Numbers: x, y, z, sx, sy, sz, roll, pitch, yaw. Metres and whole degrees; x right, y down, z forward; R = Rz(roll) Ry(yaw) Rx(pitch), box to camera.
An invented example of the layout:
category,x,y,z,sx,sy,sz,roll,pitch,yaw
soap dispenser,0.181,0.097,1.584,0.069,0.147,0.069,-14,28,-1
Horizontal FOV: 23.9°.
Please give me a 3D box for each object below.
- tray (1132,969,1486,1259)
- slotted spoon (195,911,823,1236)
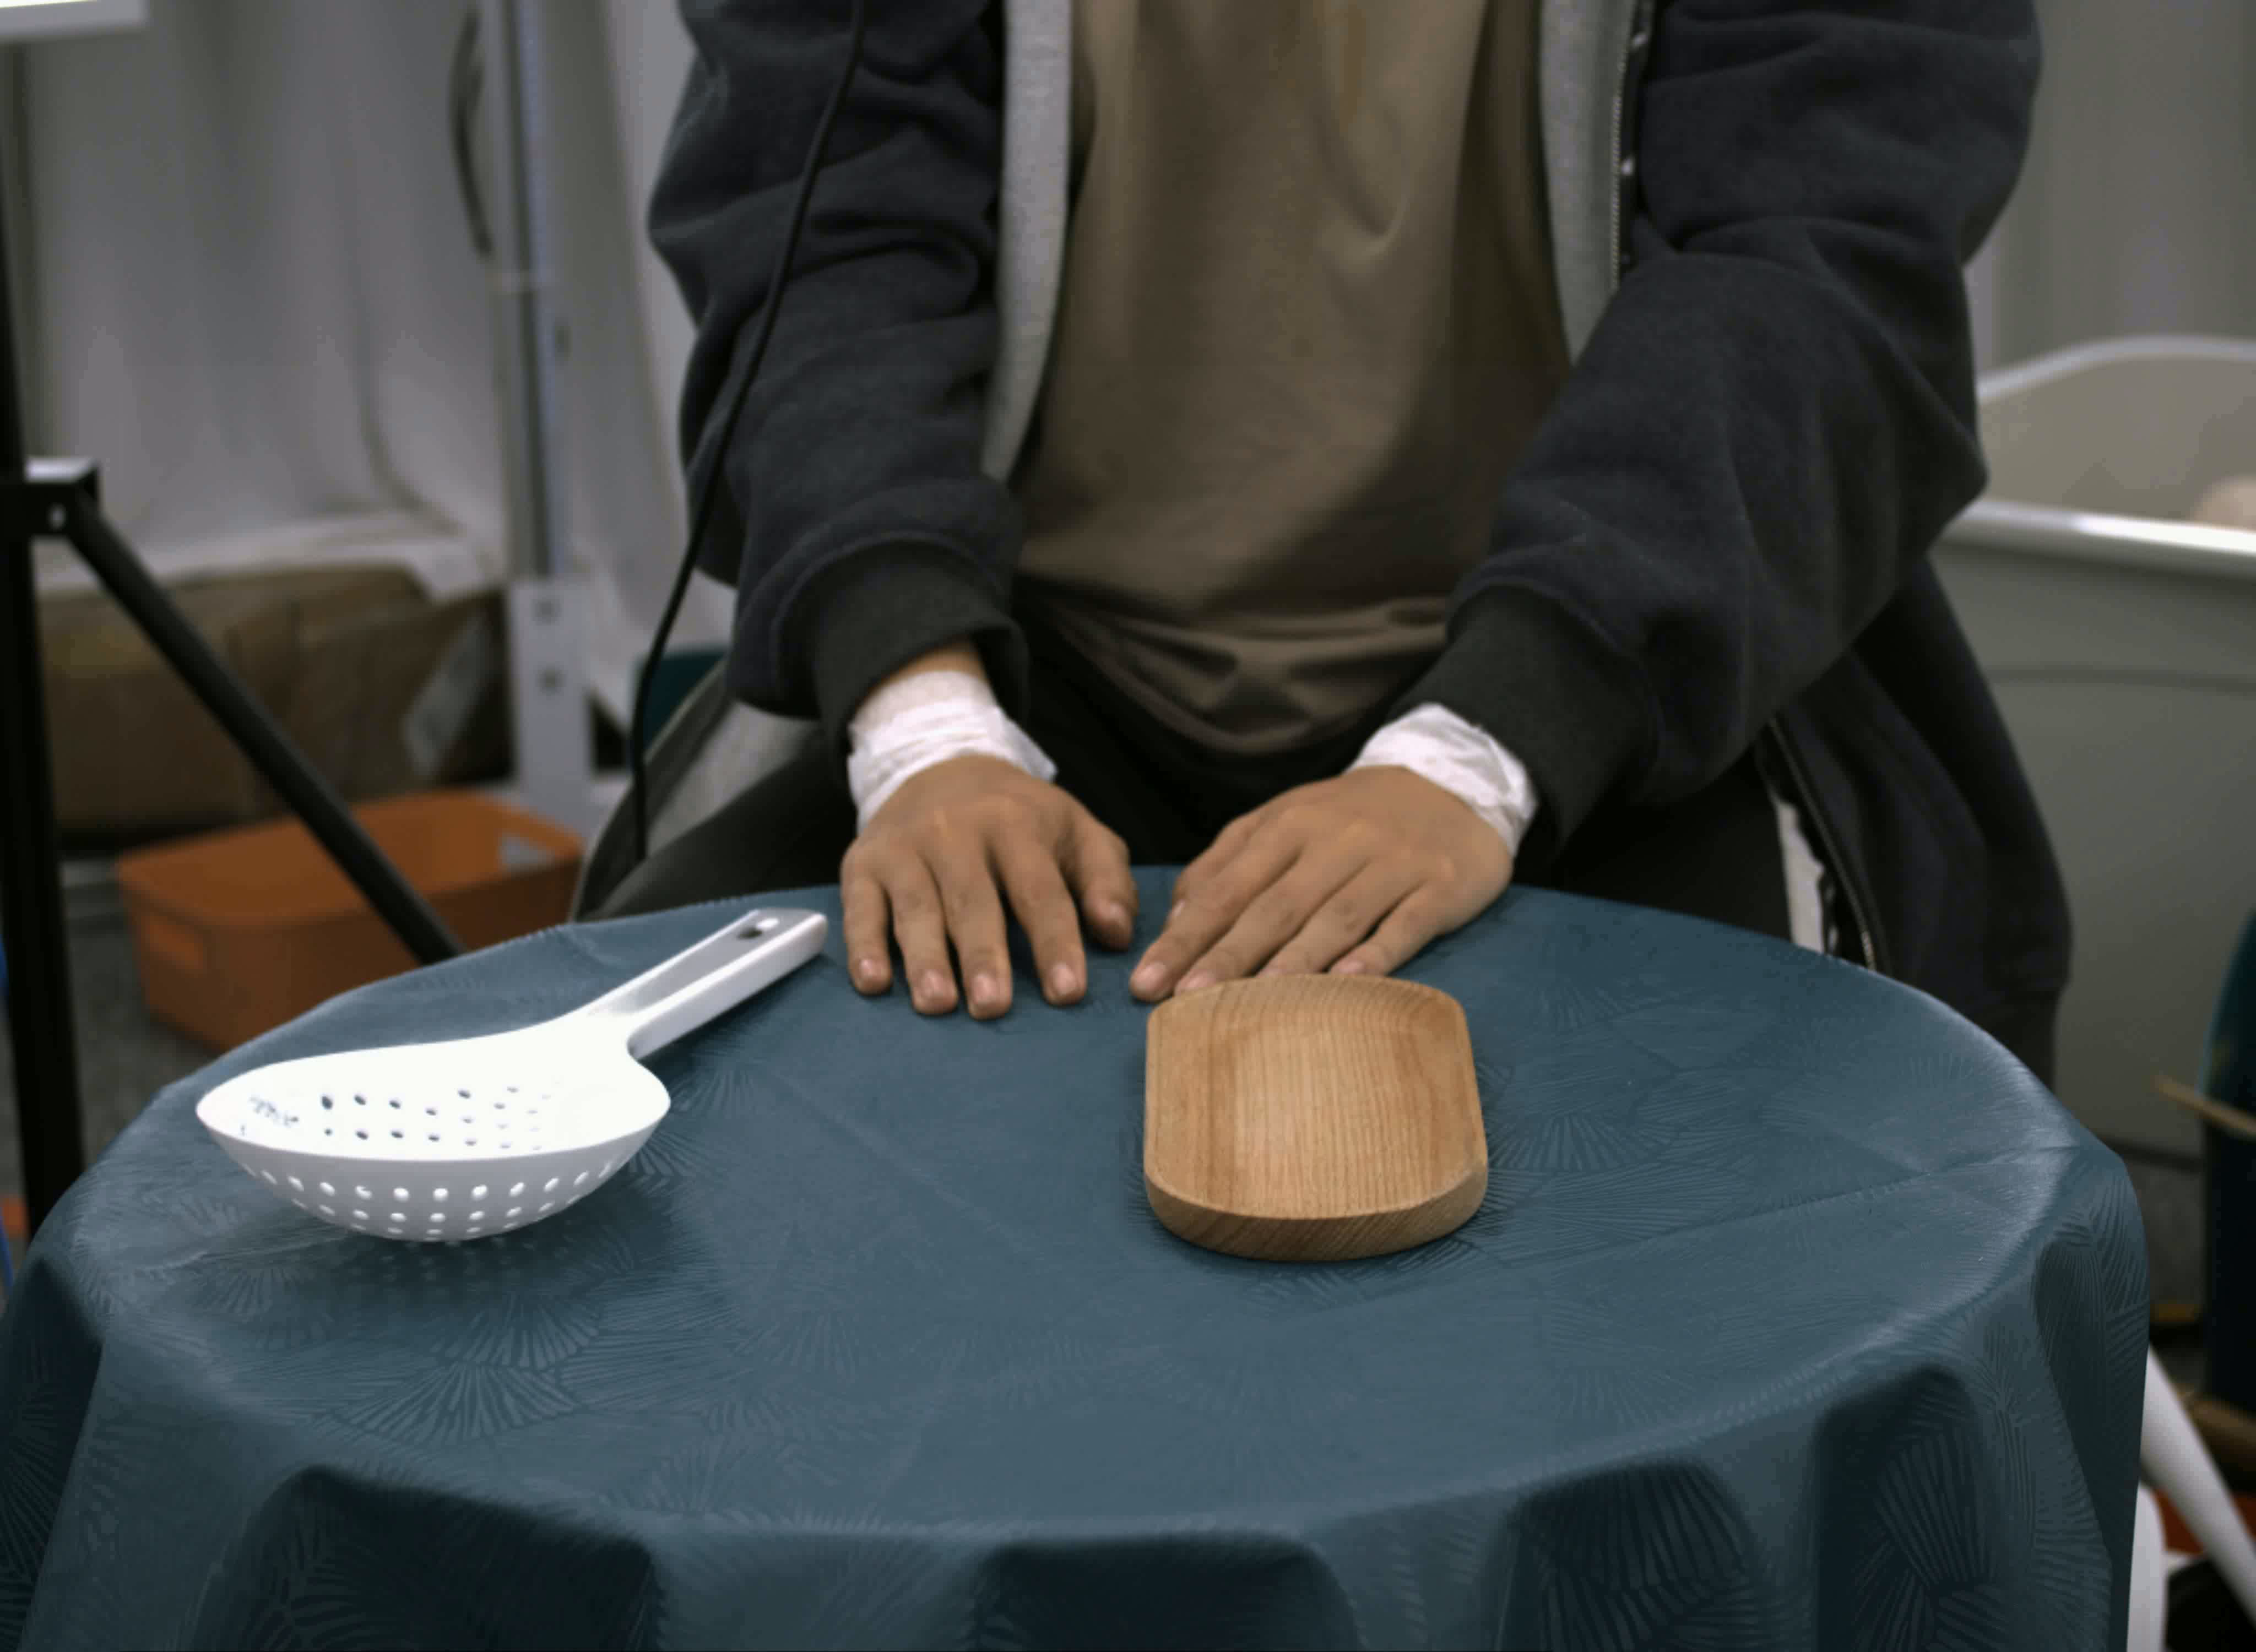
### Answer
category,x,y,z,sx,sy,sz,roll,pitch,yaw
tray,0.053,0.085,1.604,0.101,0.020,0.232,-2,15,0
slotted spoon,-0.169,0.067,1.649,0.137,0.046,0.346,5,16,18
